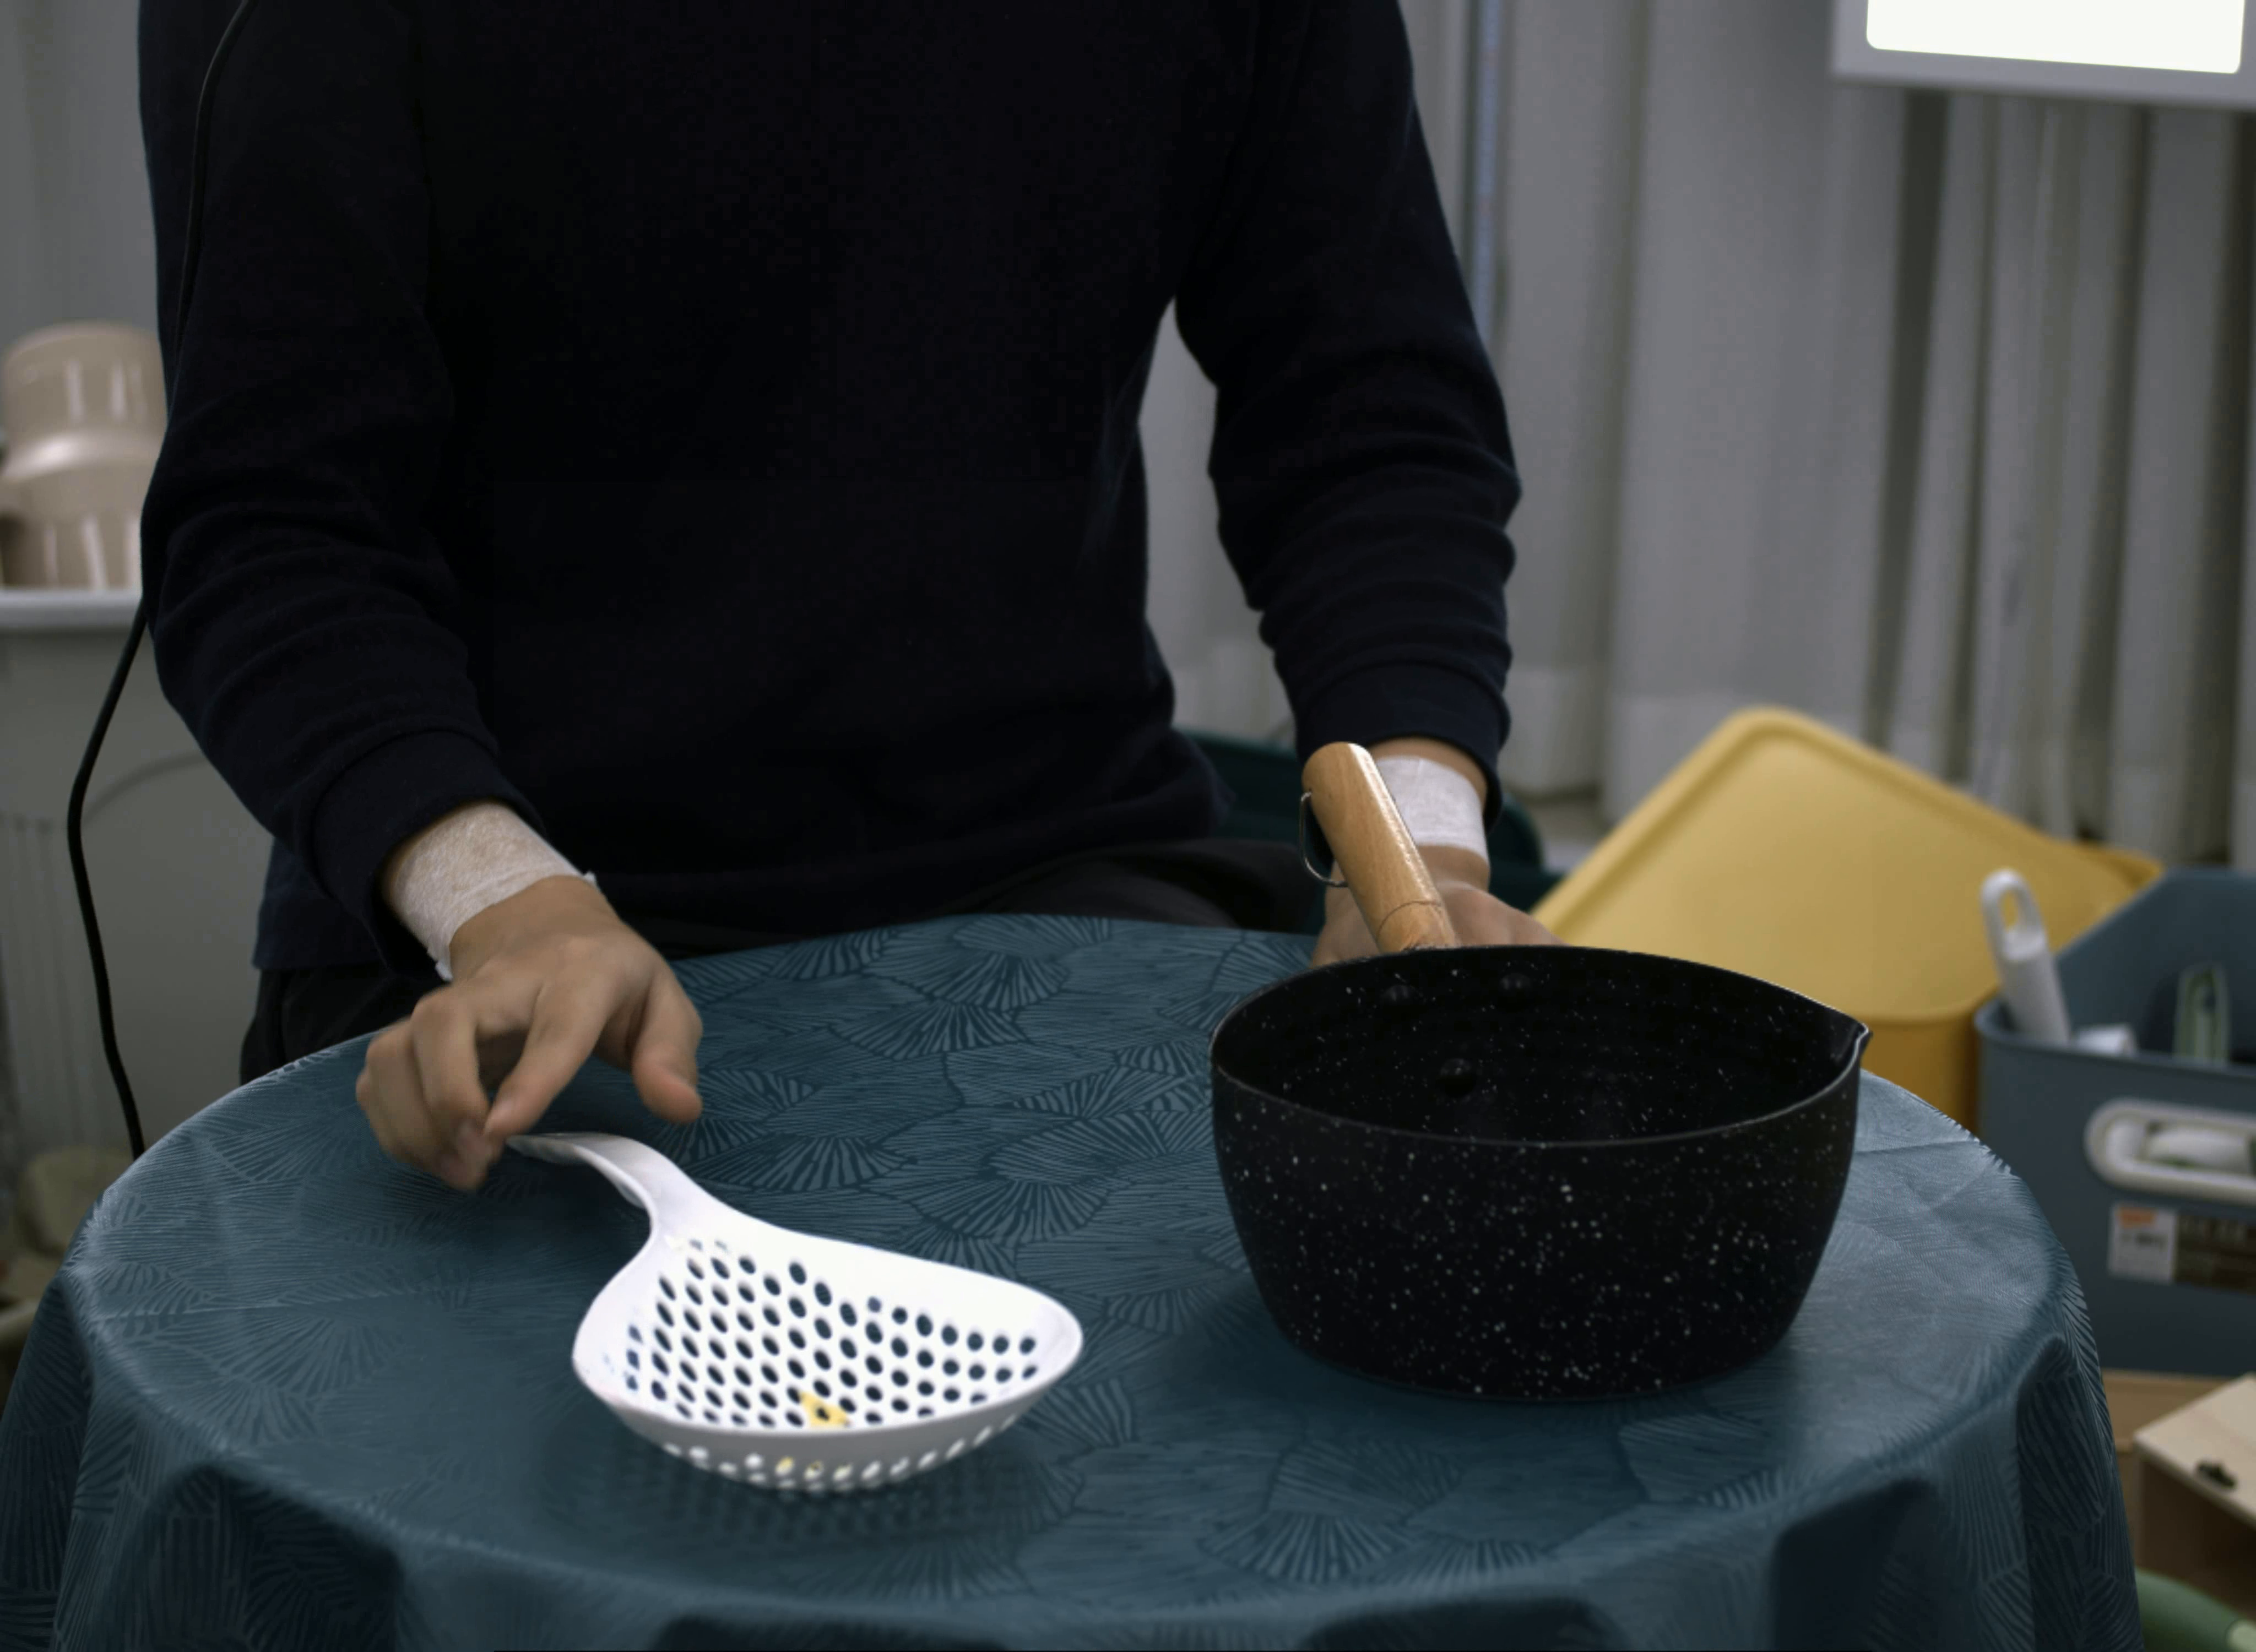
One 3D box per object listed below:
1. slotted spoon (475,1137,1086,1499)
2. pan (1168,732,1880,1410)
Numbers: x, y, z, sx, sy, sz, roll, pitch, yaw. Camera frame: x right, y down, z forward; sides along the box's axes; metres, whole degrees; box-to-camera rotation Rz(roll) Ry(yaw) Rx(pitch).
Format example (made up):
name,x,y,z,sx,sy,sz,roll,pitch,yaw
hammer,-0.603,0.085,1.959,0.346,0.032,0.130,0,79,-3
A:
name,x,y,z,sx,sy,sz,roll,pitch,yaw
slotted spoon,-0.123,0.124,1.495,0.137,0.051,0.343,-9,20,-22
pan,0.099,0.068,1.583,0.207,0.109,0.339,-4,18,-12
